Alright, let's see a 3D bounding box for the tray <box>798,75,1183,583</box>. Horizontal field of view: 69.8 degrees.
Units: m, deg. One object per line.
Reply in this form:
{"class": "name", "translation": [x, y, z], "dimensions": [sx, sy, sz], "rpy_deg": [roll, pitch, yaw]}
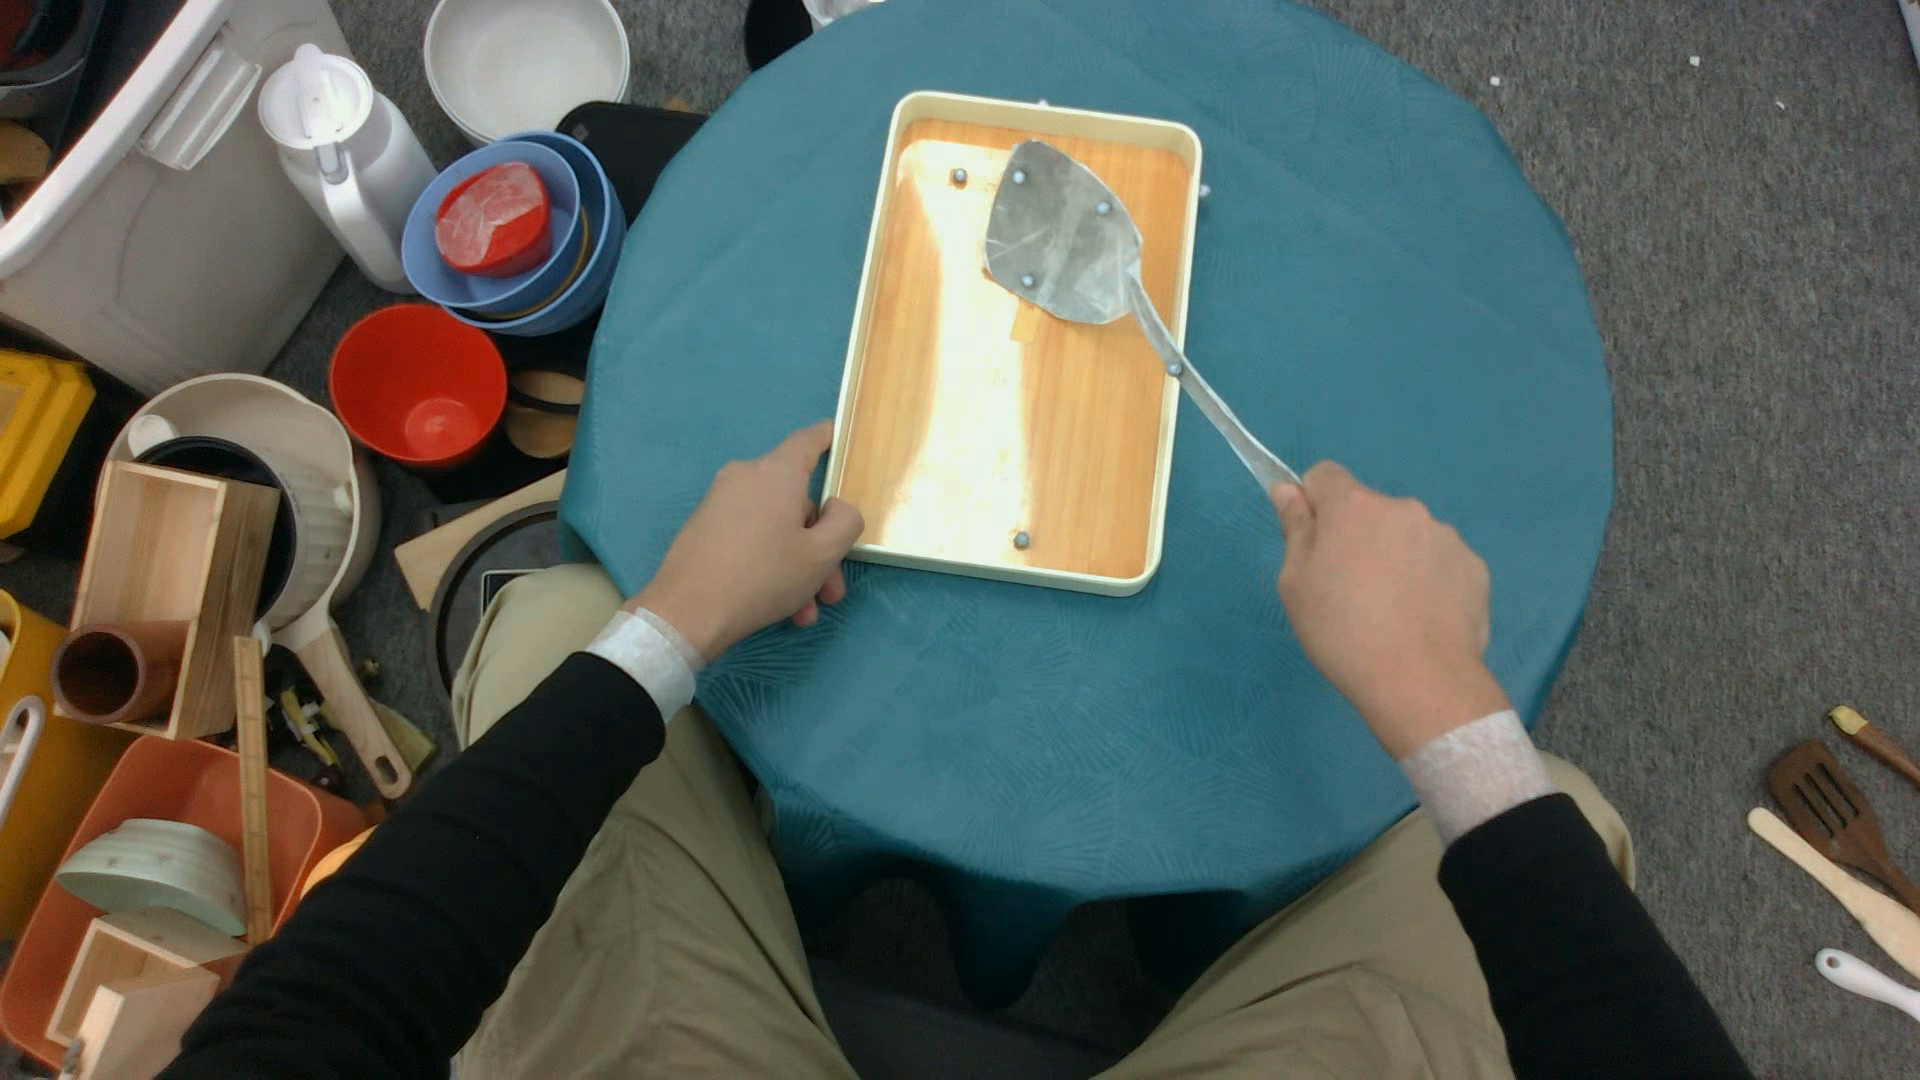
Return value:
{"class": "tray", "translation": [0.023, -0.130, 0.805], "dimensions": [0.191, 0.027, 0.301], "rpy_deg": [8, 71, 1]}

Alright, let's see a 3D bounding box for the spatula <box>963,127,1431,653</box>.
{"class": "spatula", "translation": [0.117, -0.080, 0.722], "dimensions": [0.045, 0.098, 0.365], "rpy_deg": [-15, 56, -32]}
